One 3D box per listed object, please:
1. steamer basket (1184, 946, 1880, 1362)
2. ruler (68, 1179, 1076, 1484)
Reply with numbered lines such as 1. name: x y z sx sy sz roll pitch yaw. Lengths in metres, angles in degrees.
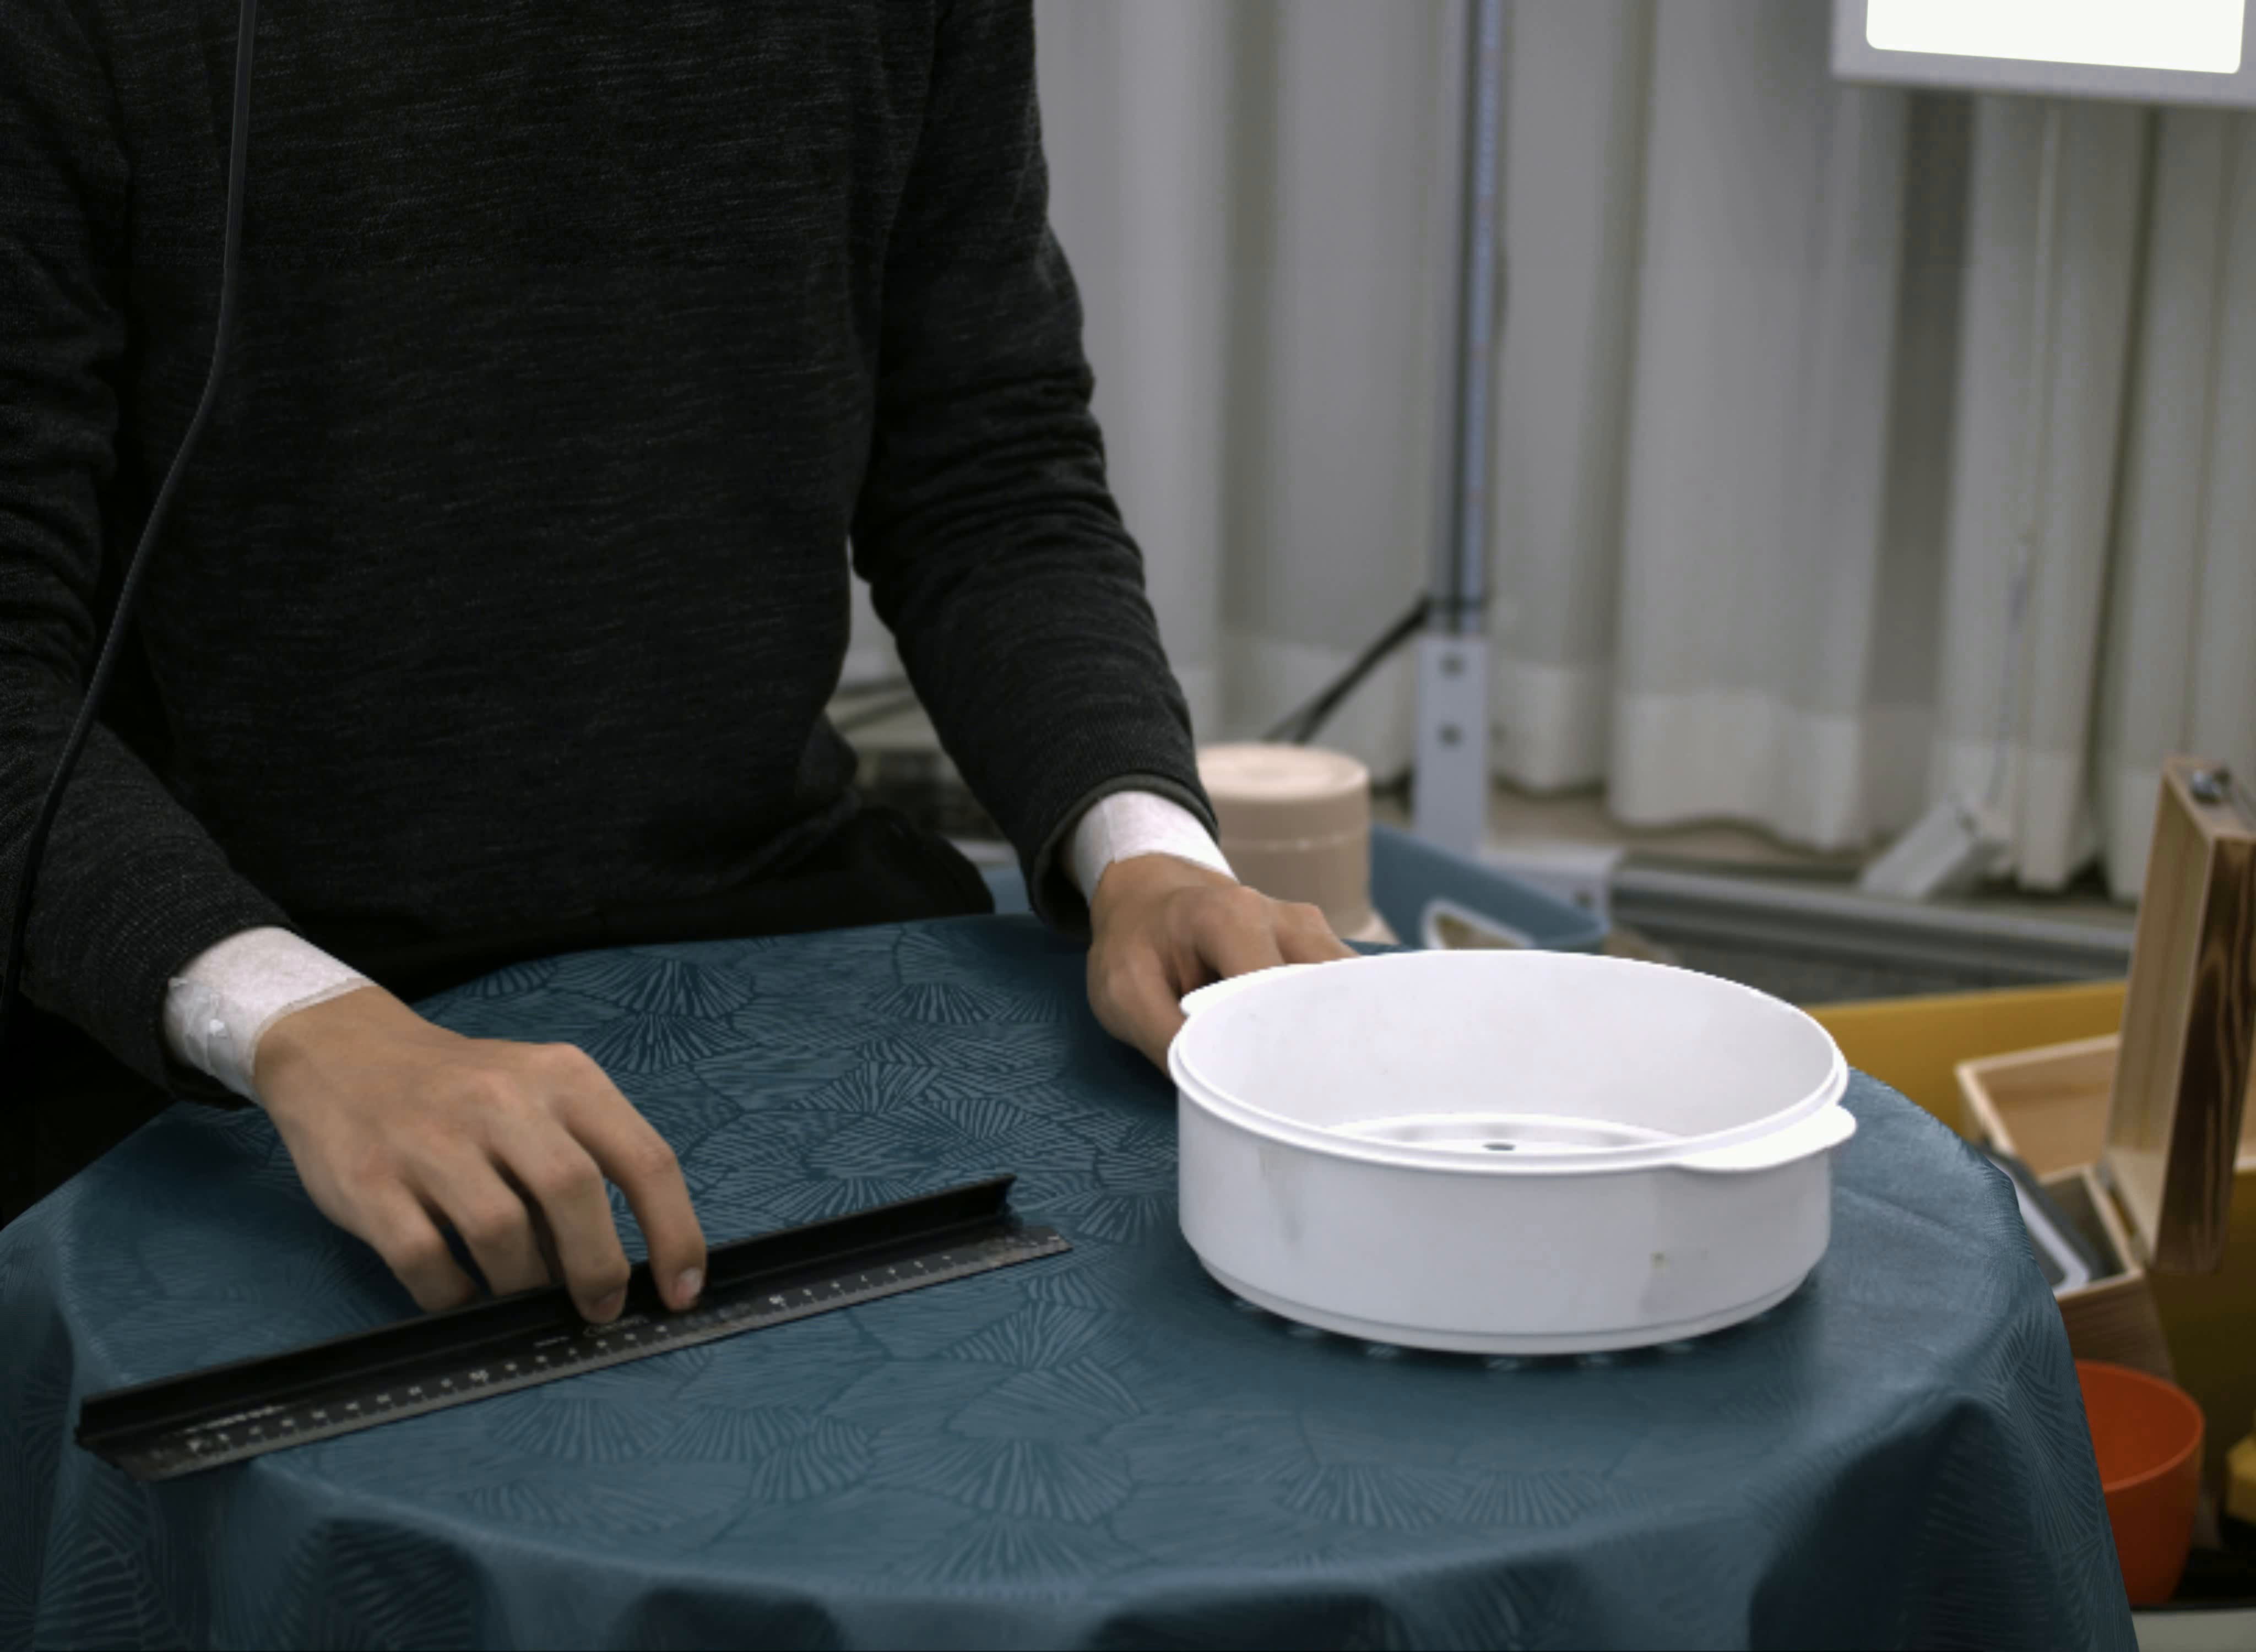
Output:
1. steamer basket: 0.116 0.096 1.553 0.227 0.070 0.203 18 23 41
2. ruler: -0.150 0.140 1.488 0.314 0.017 0.039 -11 22 -36
